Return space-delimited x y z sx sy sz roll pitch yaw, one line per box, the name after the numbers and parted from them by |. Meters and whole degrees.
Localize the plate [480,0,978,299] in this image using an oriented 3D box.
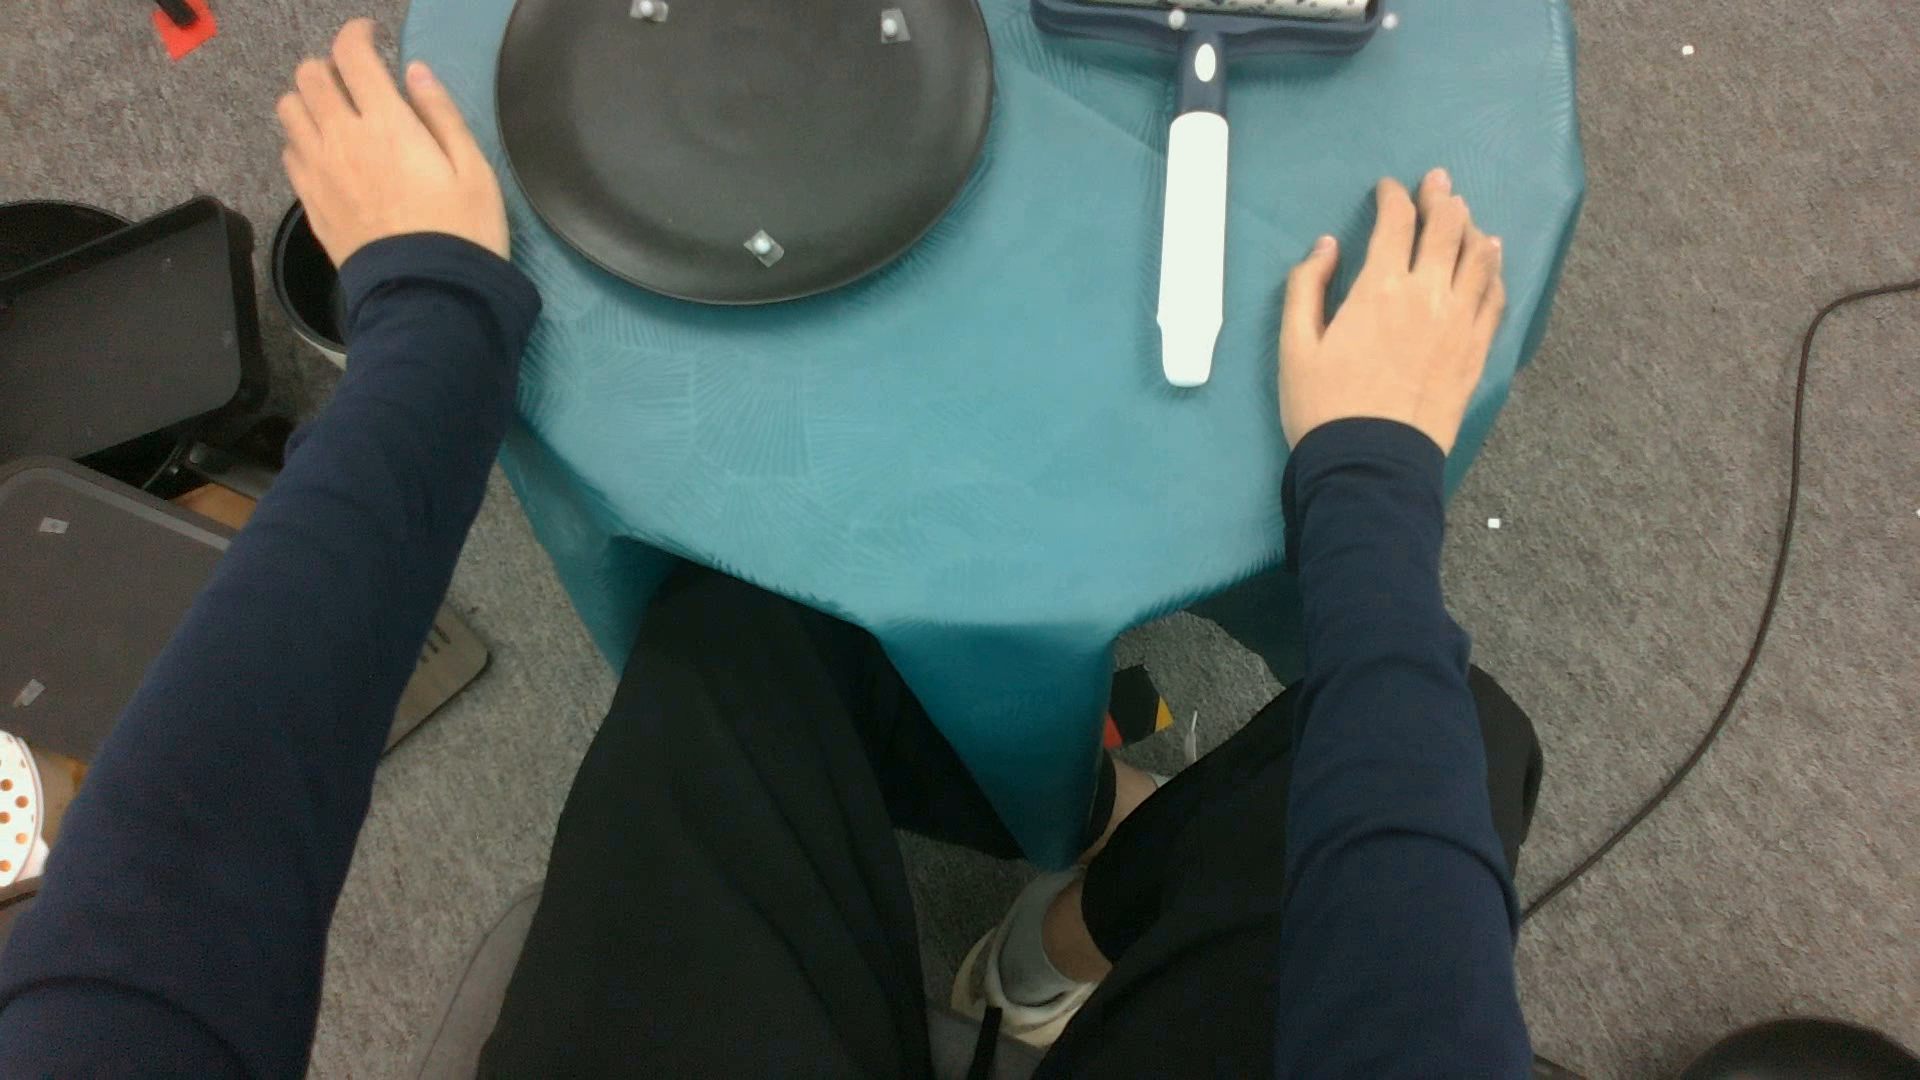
-0.113 -0.229 0.685 0.244 0.023 0.245 1 75 -2 | plate

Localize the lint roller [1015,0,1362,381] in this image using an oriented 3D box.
0.110 -0.201 0.676 0.176 0.050 0.247 4 78 -2 | lint roller
